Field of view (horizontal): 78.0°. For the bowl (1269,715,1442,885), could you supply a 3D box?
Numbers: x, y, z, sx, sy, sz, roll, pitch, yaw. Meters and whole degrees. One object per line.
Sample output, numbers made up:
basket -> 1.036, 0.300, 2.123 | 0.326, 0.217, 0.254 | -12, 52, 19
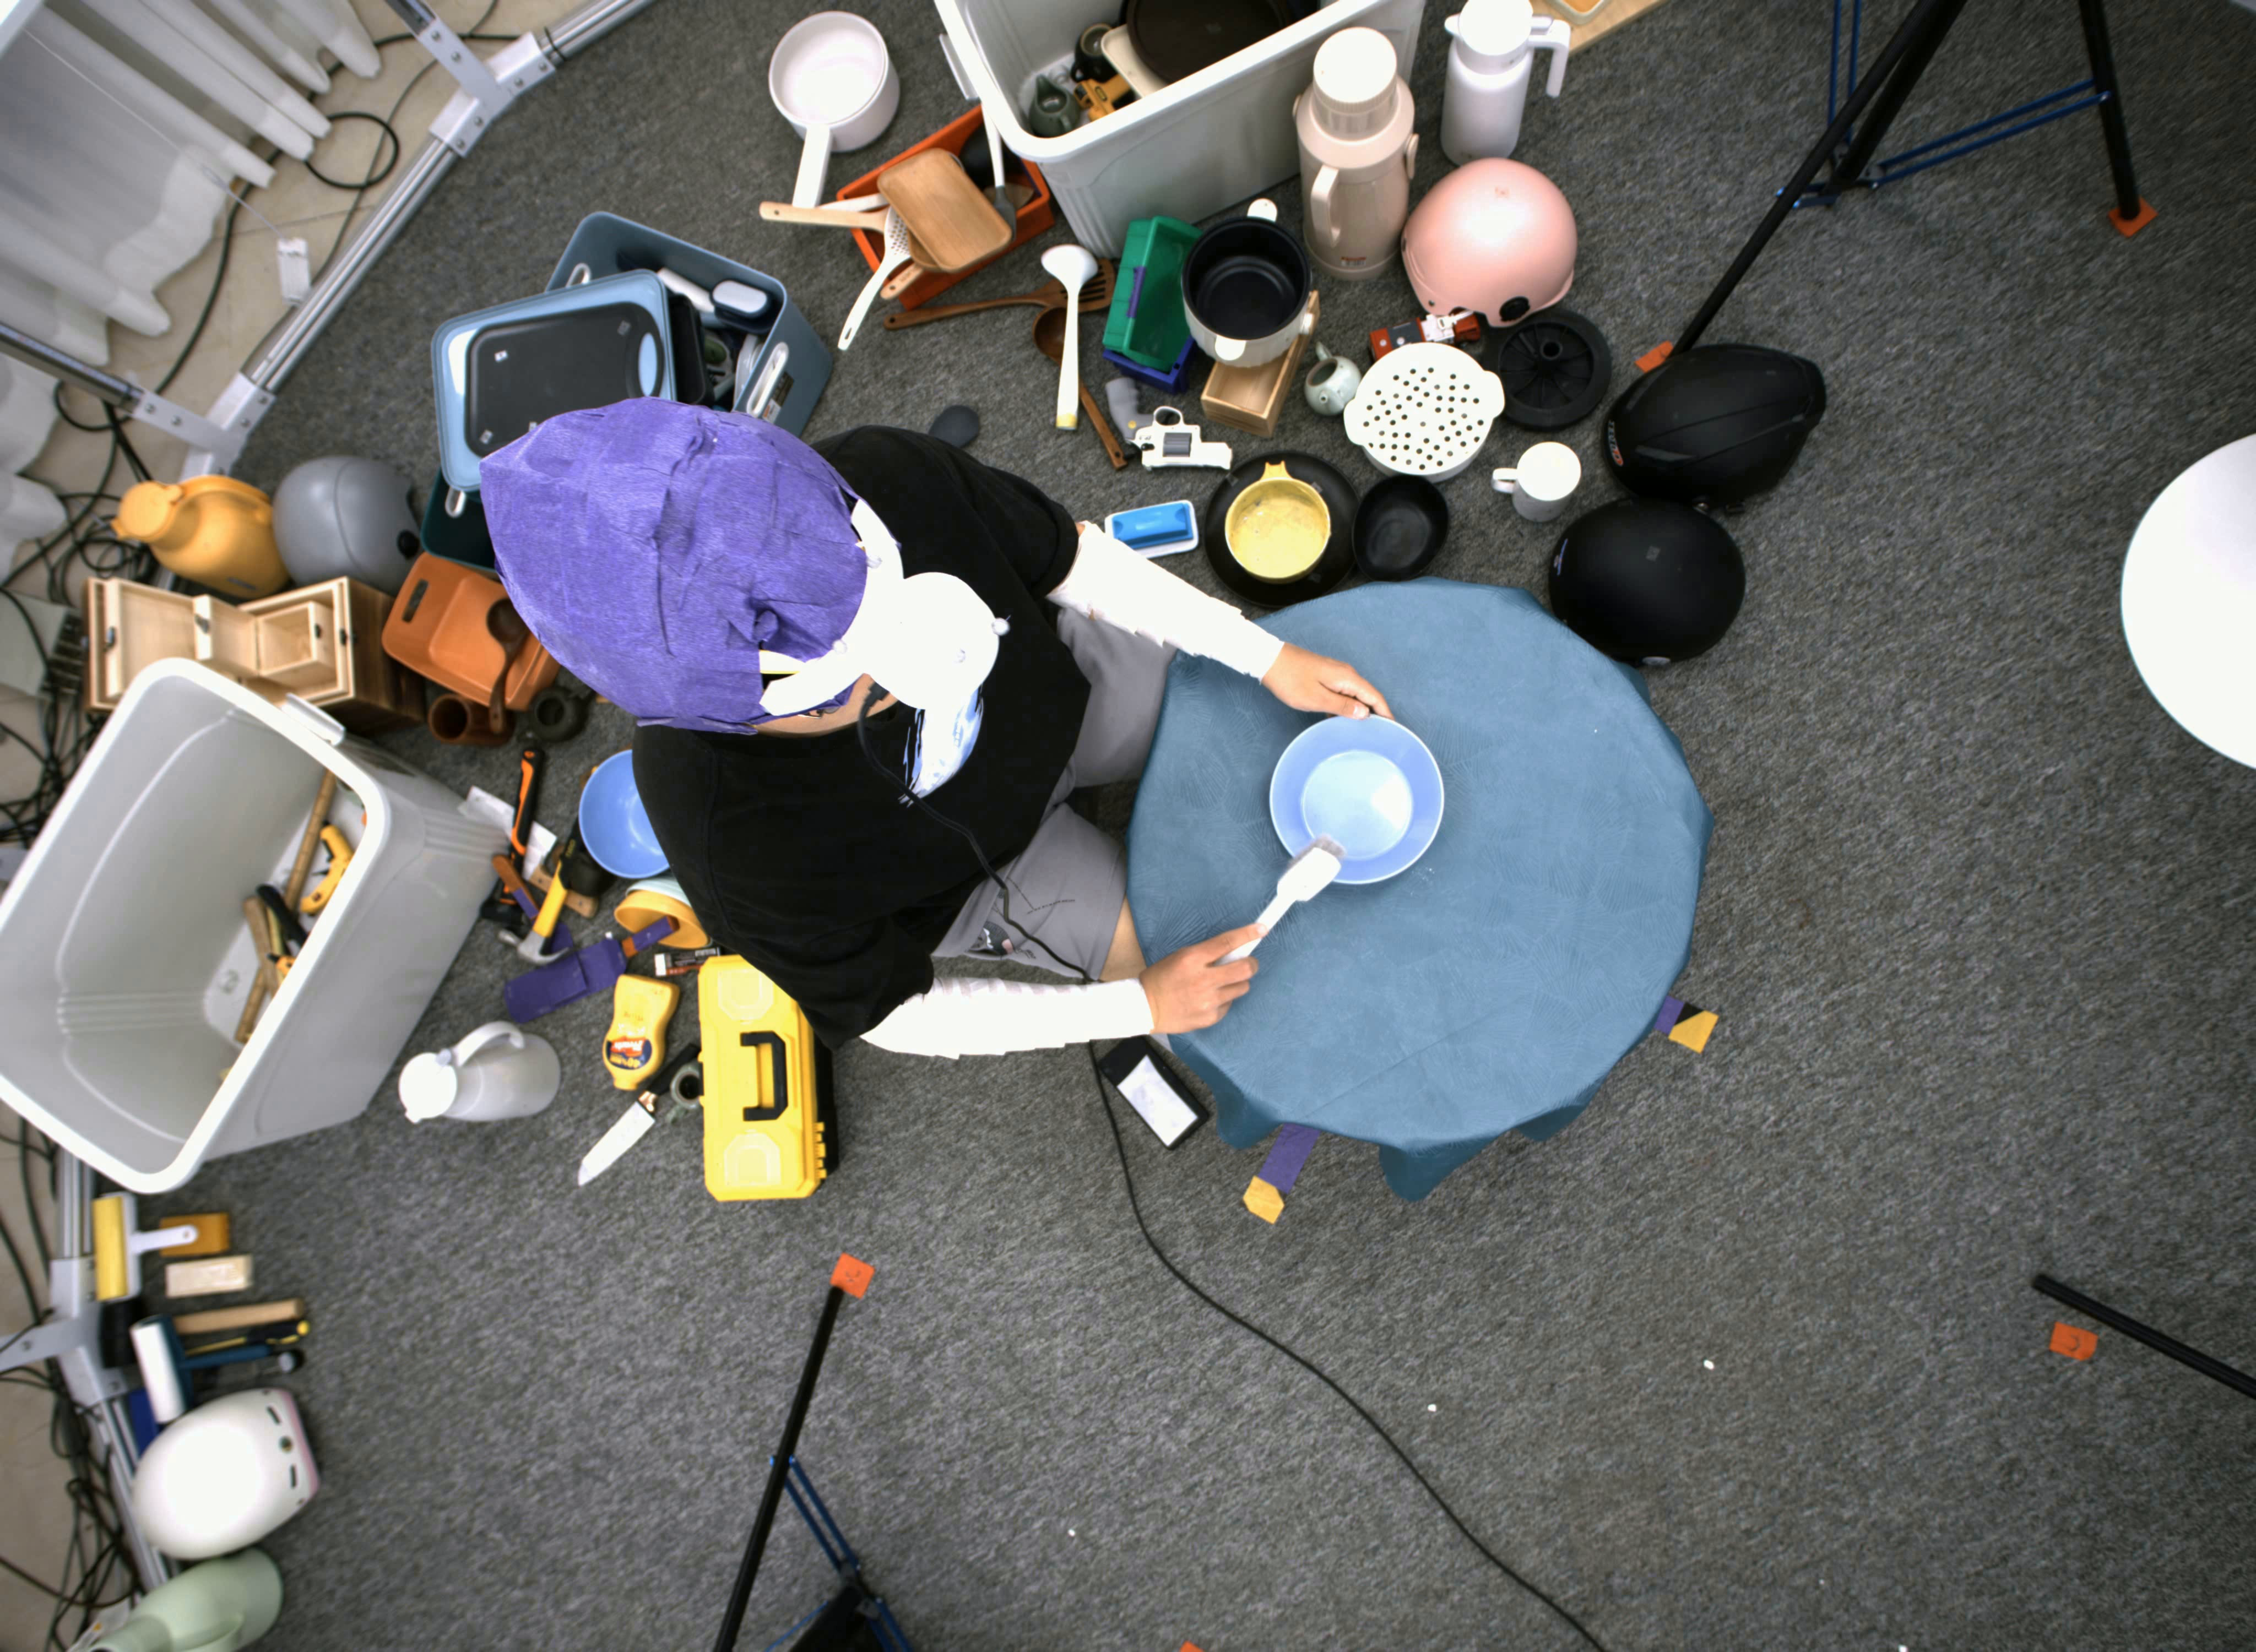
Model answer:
bowl -> 0.237, -0.025, 1.434 | 0.177, 0.070, 0.175 | -1, 86, 11

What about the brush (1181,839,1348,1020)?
brush -> 0.135, 0.106, 1.419 | 0.034, 0.049, 0.248 | 36, 116, -9
